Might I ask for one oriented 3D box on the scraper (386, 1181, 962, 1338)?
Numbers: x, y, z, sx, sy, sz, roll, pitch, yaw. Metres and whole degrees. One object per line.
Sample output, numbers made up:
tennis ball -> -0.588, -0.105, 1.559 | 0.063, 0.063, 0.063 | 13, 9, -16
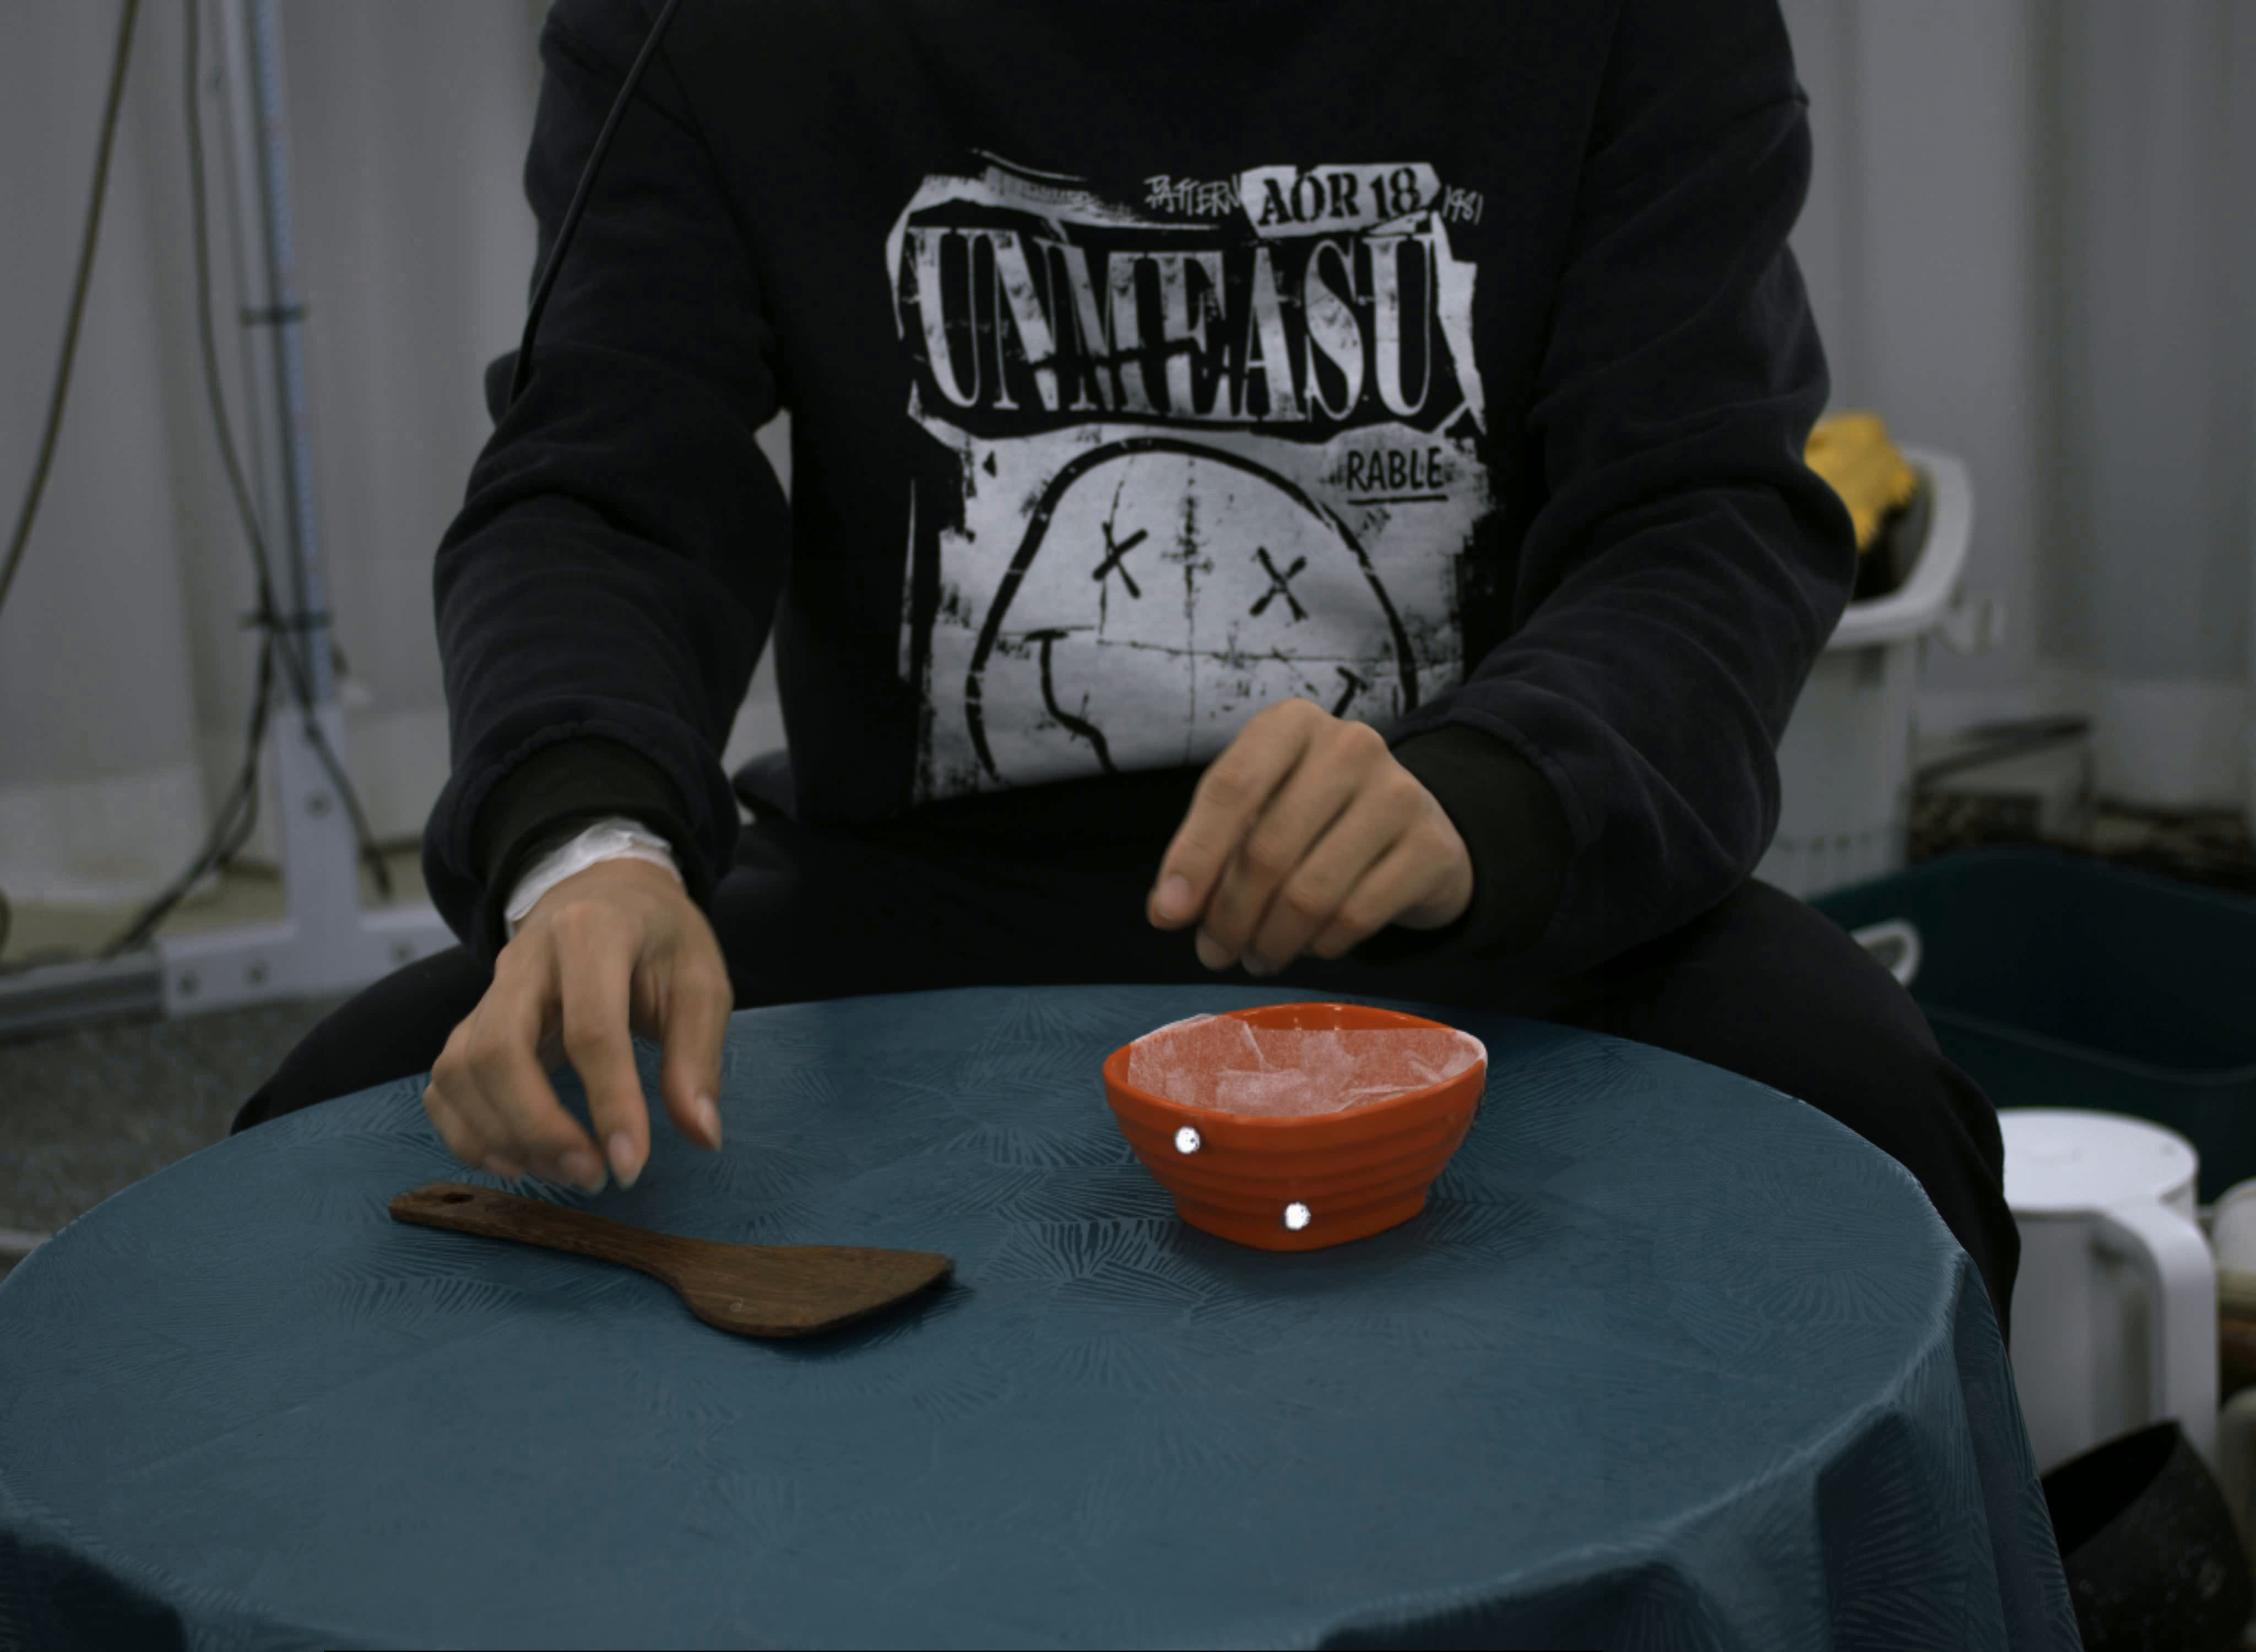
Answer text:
scraper -> -0.147, 0.130, 1.671 | 0.212, 0.011, 0.076 | 9, 18, 39

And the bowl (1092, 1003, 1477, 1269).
bowl -> 0.050, 0.098, 1.684 | 0.118, 0.051, 0.120 | -5, 18, 1
